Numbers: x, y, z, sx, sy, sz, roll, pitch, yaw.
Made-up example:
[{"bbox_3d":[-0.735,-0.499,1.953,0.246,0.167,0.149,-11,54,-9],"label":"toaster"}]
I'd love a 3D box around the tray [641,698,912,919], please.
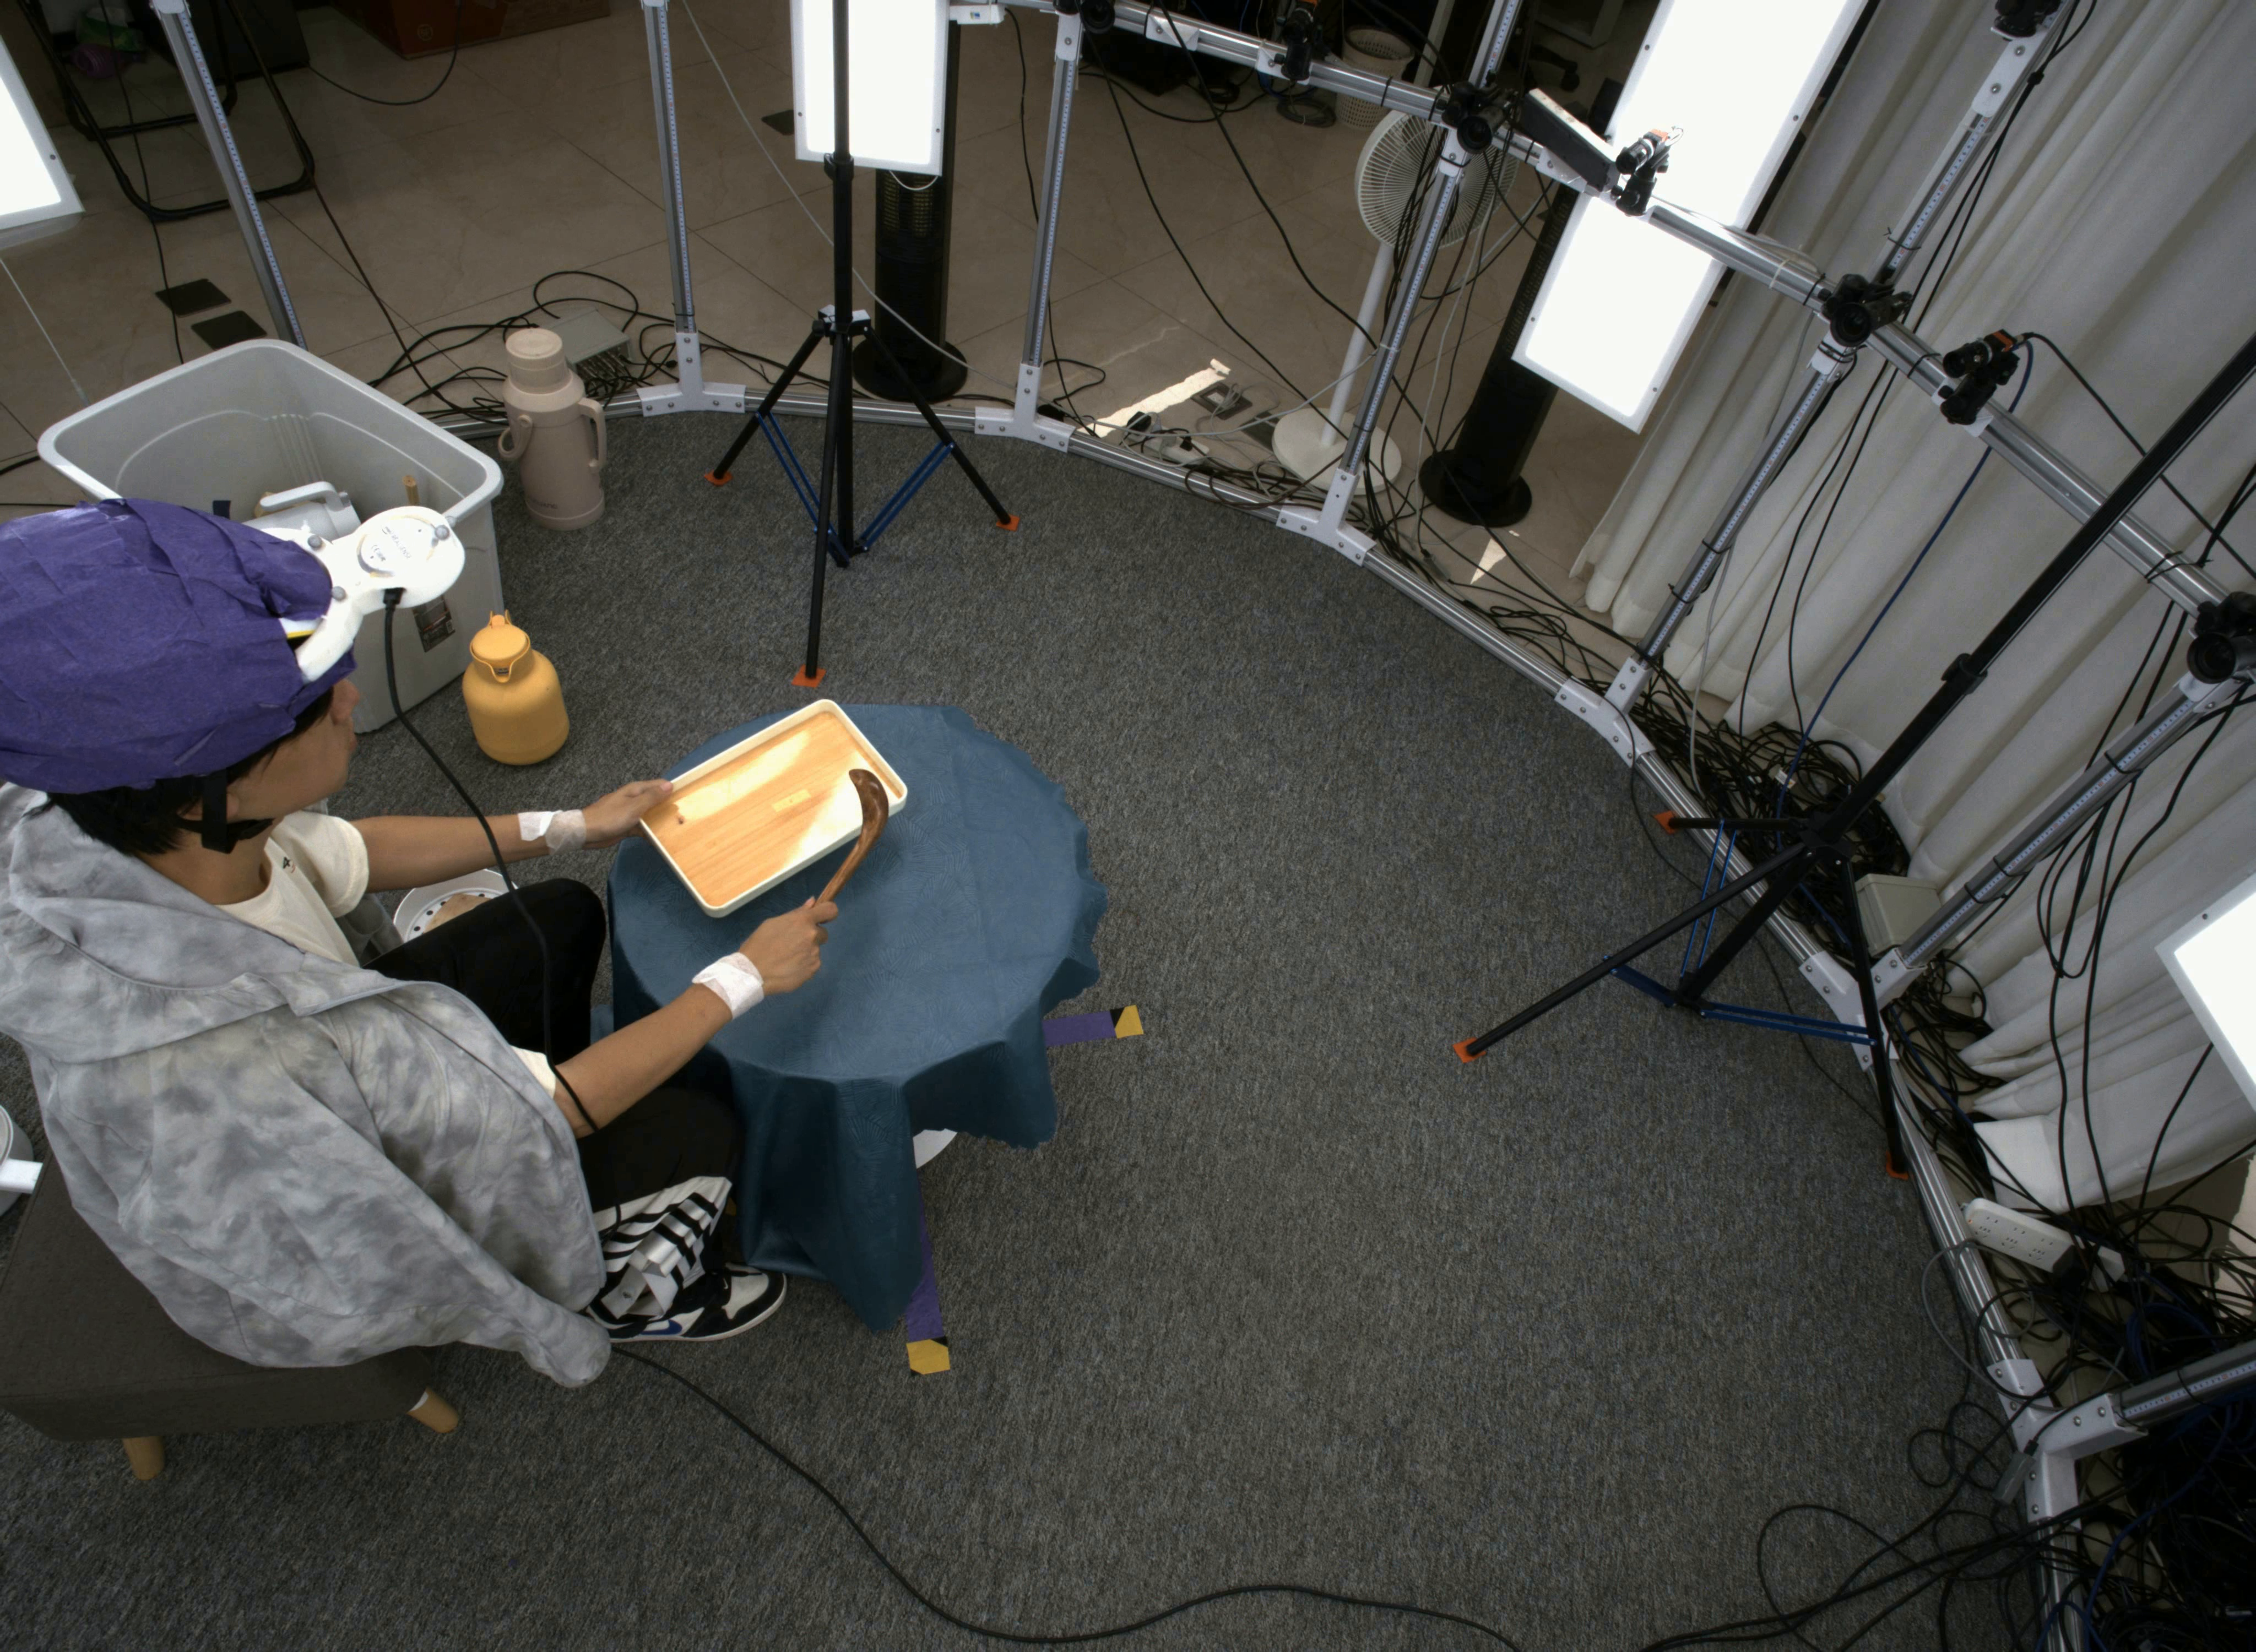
[{"bbox_3d":[-0.445,-0.029,1.650,0.301,0.028,0.188,-34,75,-27],"label":"tray"}]

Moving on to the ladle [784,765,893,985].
[{"bbox_3d":[-0.360,0.051,1.546,0.074,0.084,0.274,22,70,18],"label":"ladle"}]
